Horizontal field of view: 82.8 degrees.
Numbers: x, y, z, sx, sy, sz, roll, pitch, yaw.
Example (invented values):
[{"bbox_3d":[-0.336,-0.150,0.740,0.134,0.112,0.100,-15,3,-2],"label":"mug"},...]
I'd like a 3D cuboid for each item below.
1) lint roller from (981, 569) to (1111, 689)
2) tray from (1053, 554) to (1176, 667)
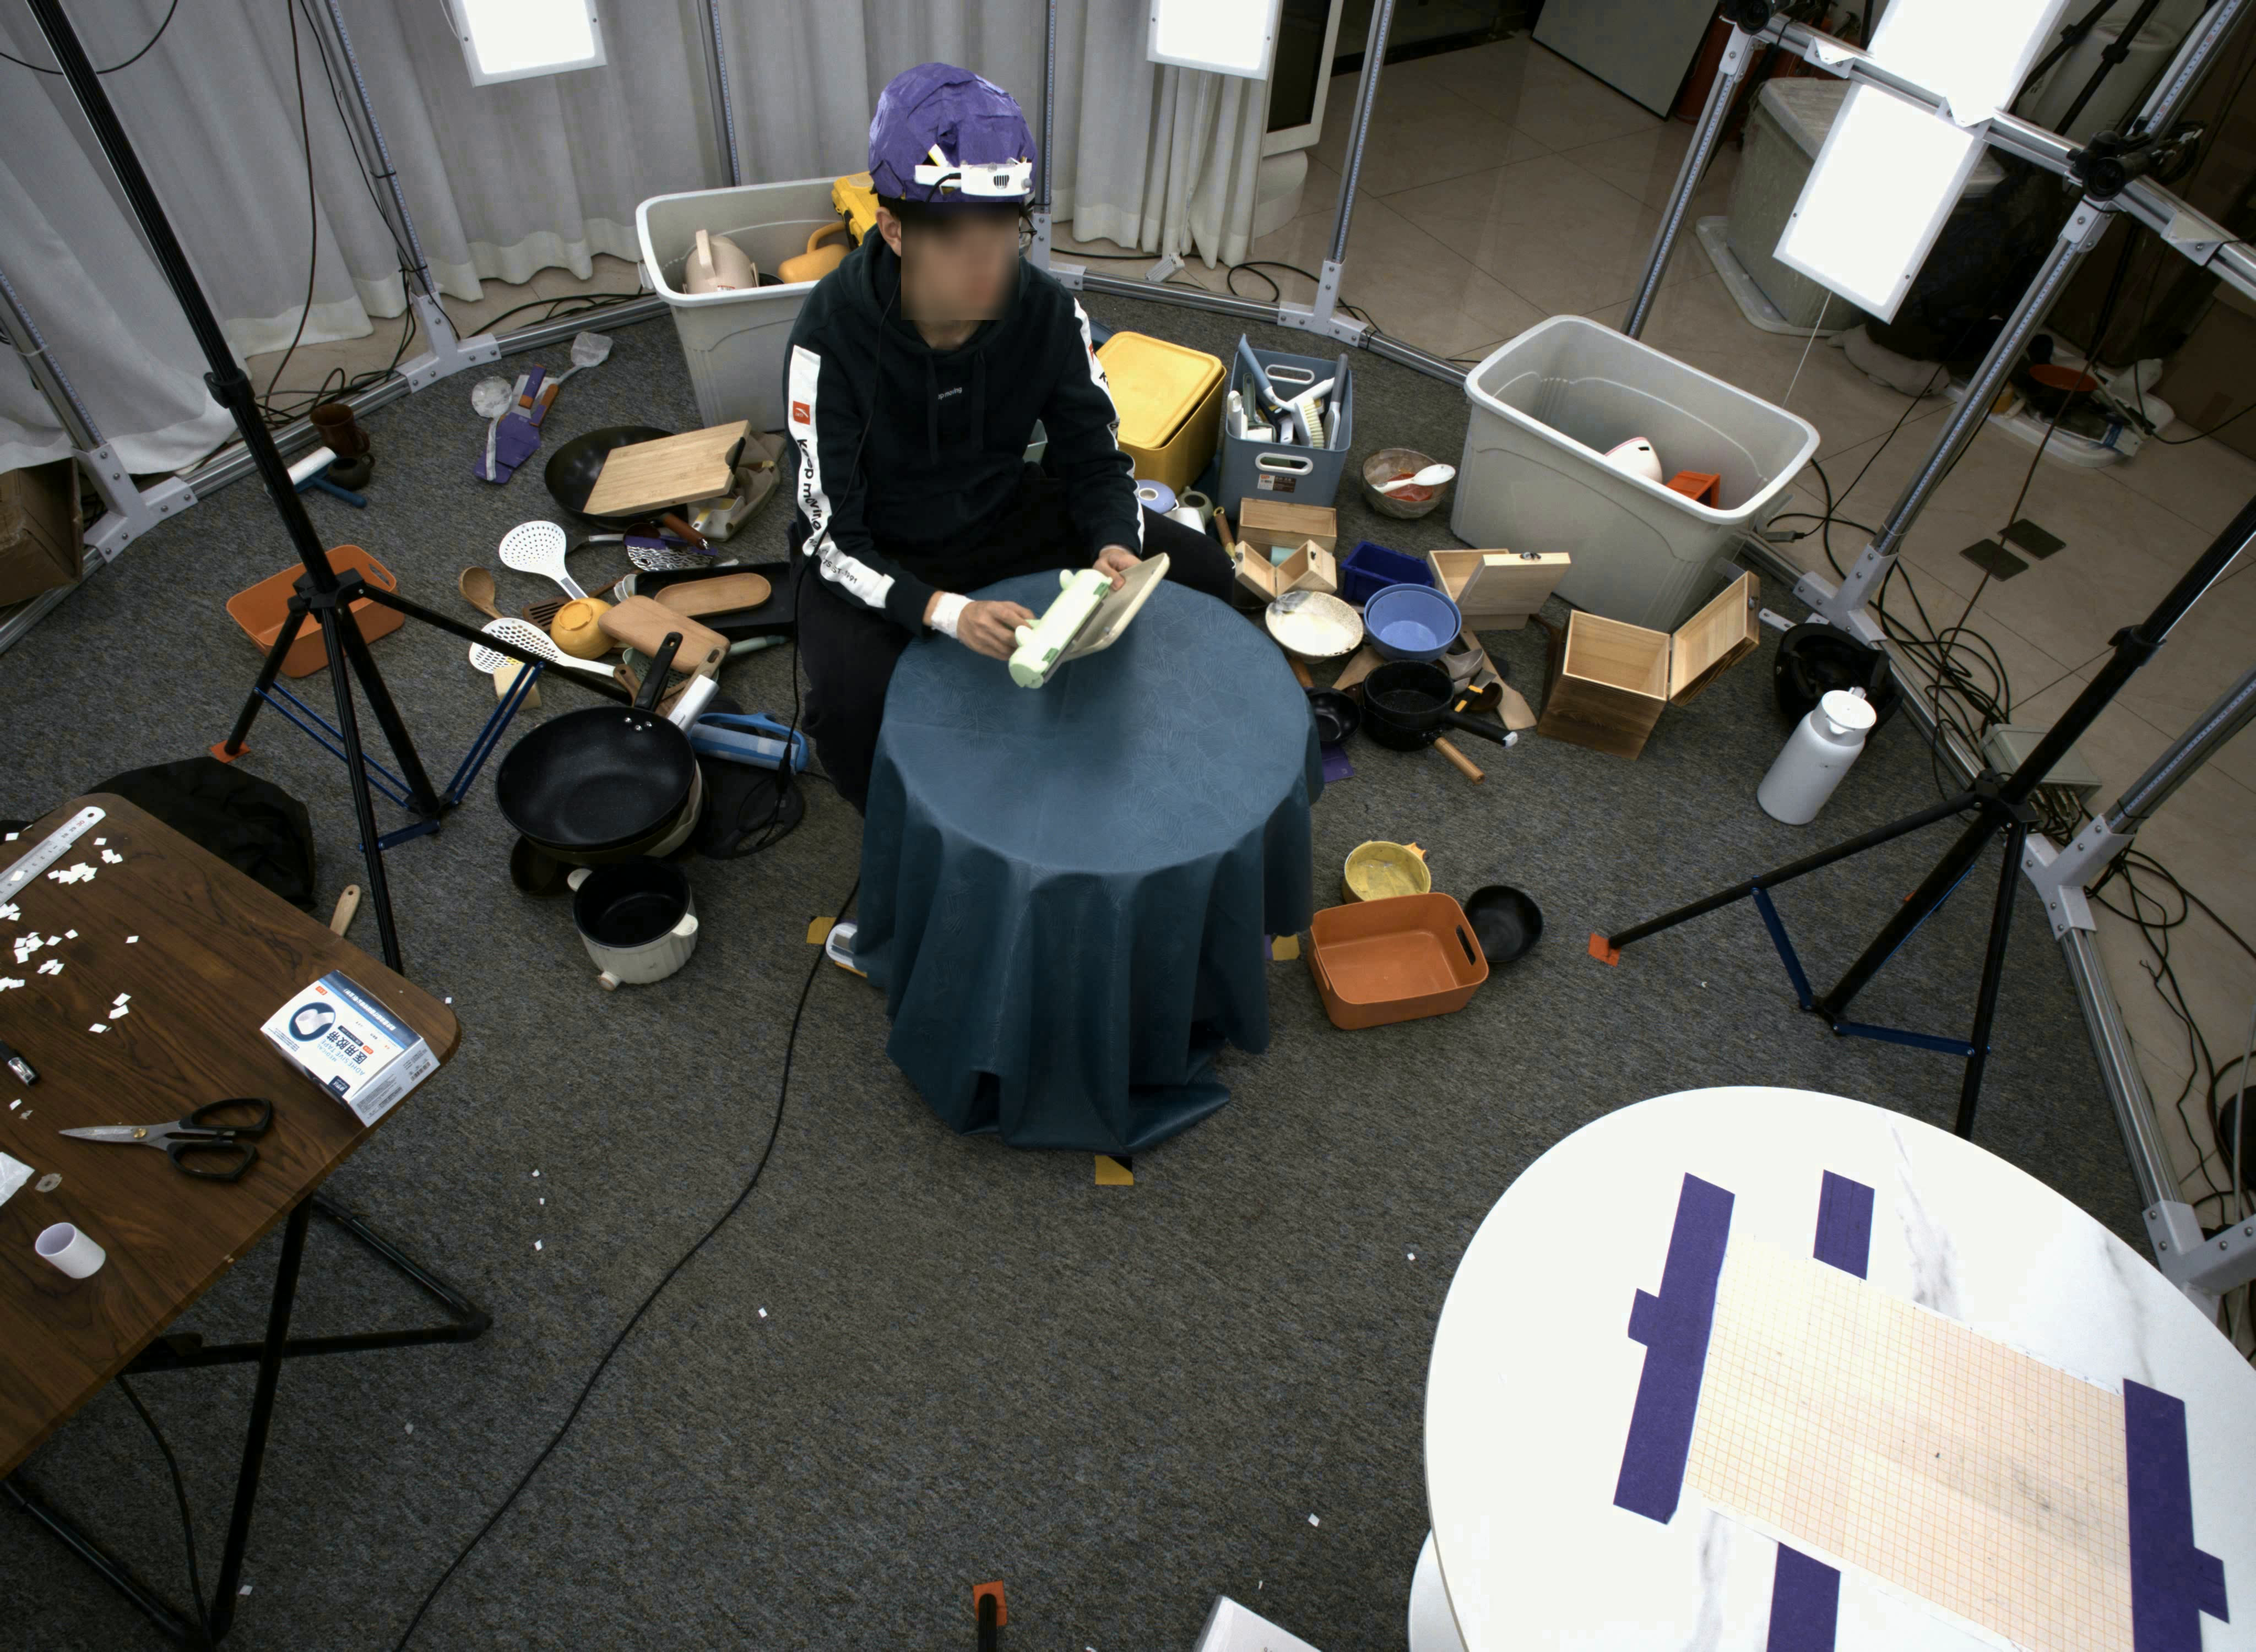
[{"bbox_3d":[-0.139,-0.276,1.736,0.185,0.080,0.202,10,52,34],"label":"lint roller"},{"bbox_3d":[-0.027,-0.295,1.788,0.017,0.240,0.173,42,71,-21],"label":"tray"}]
